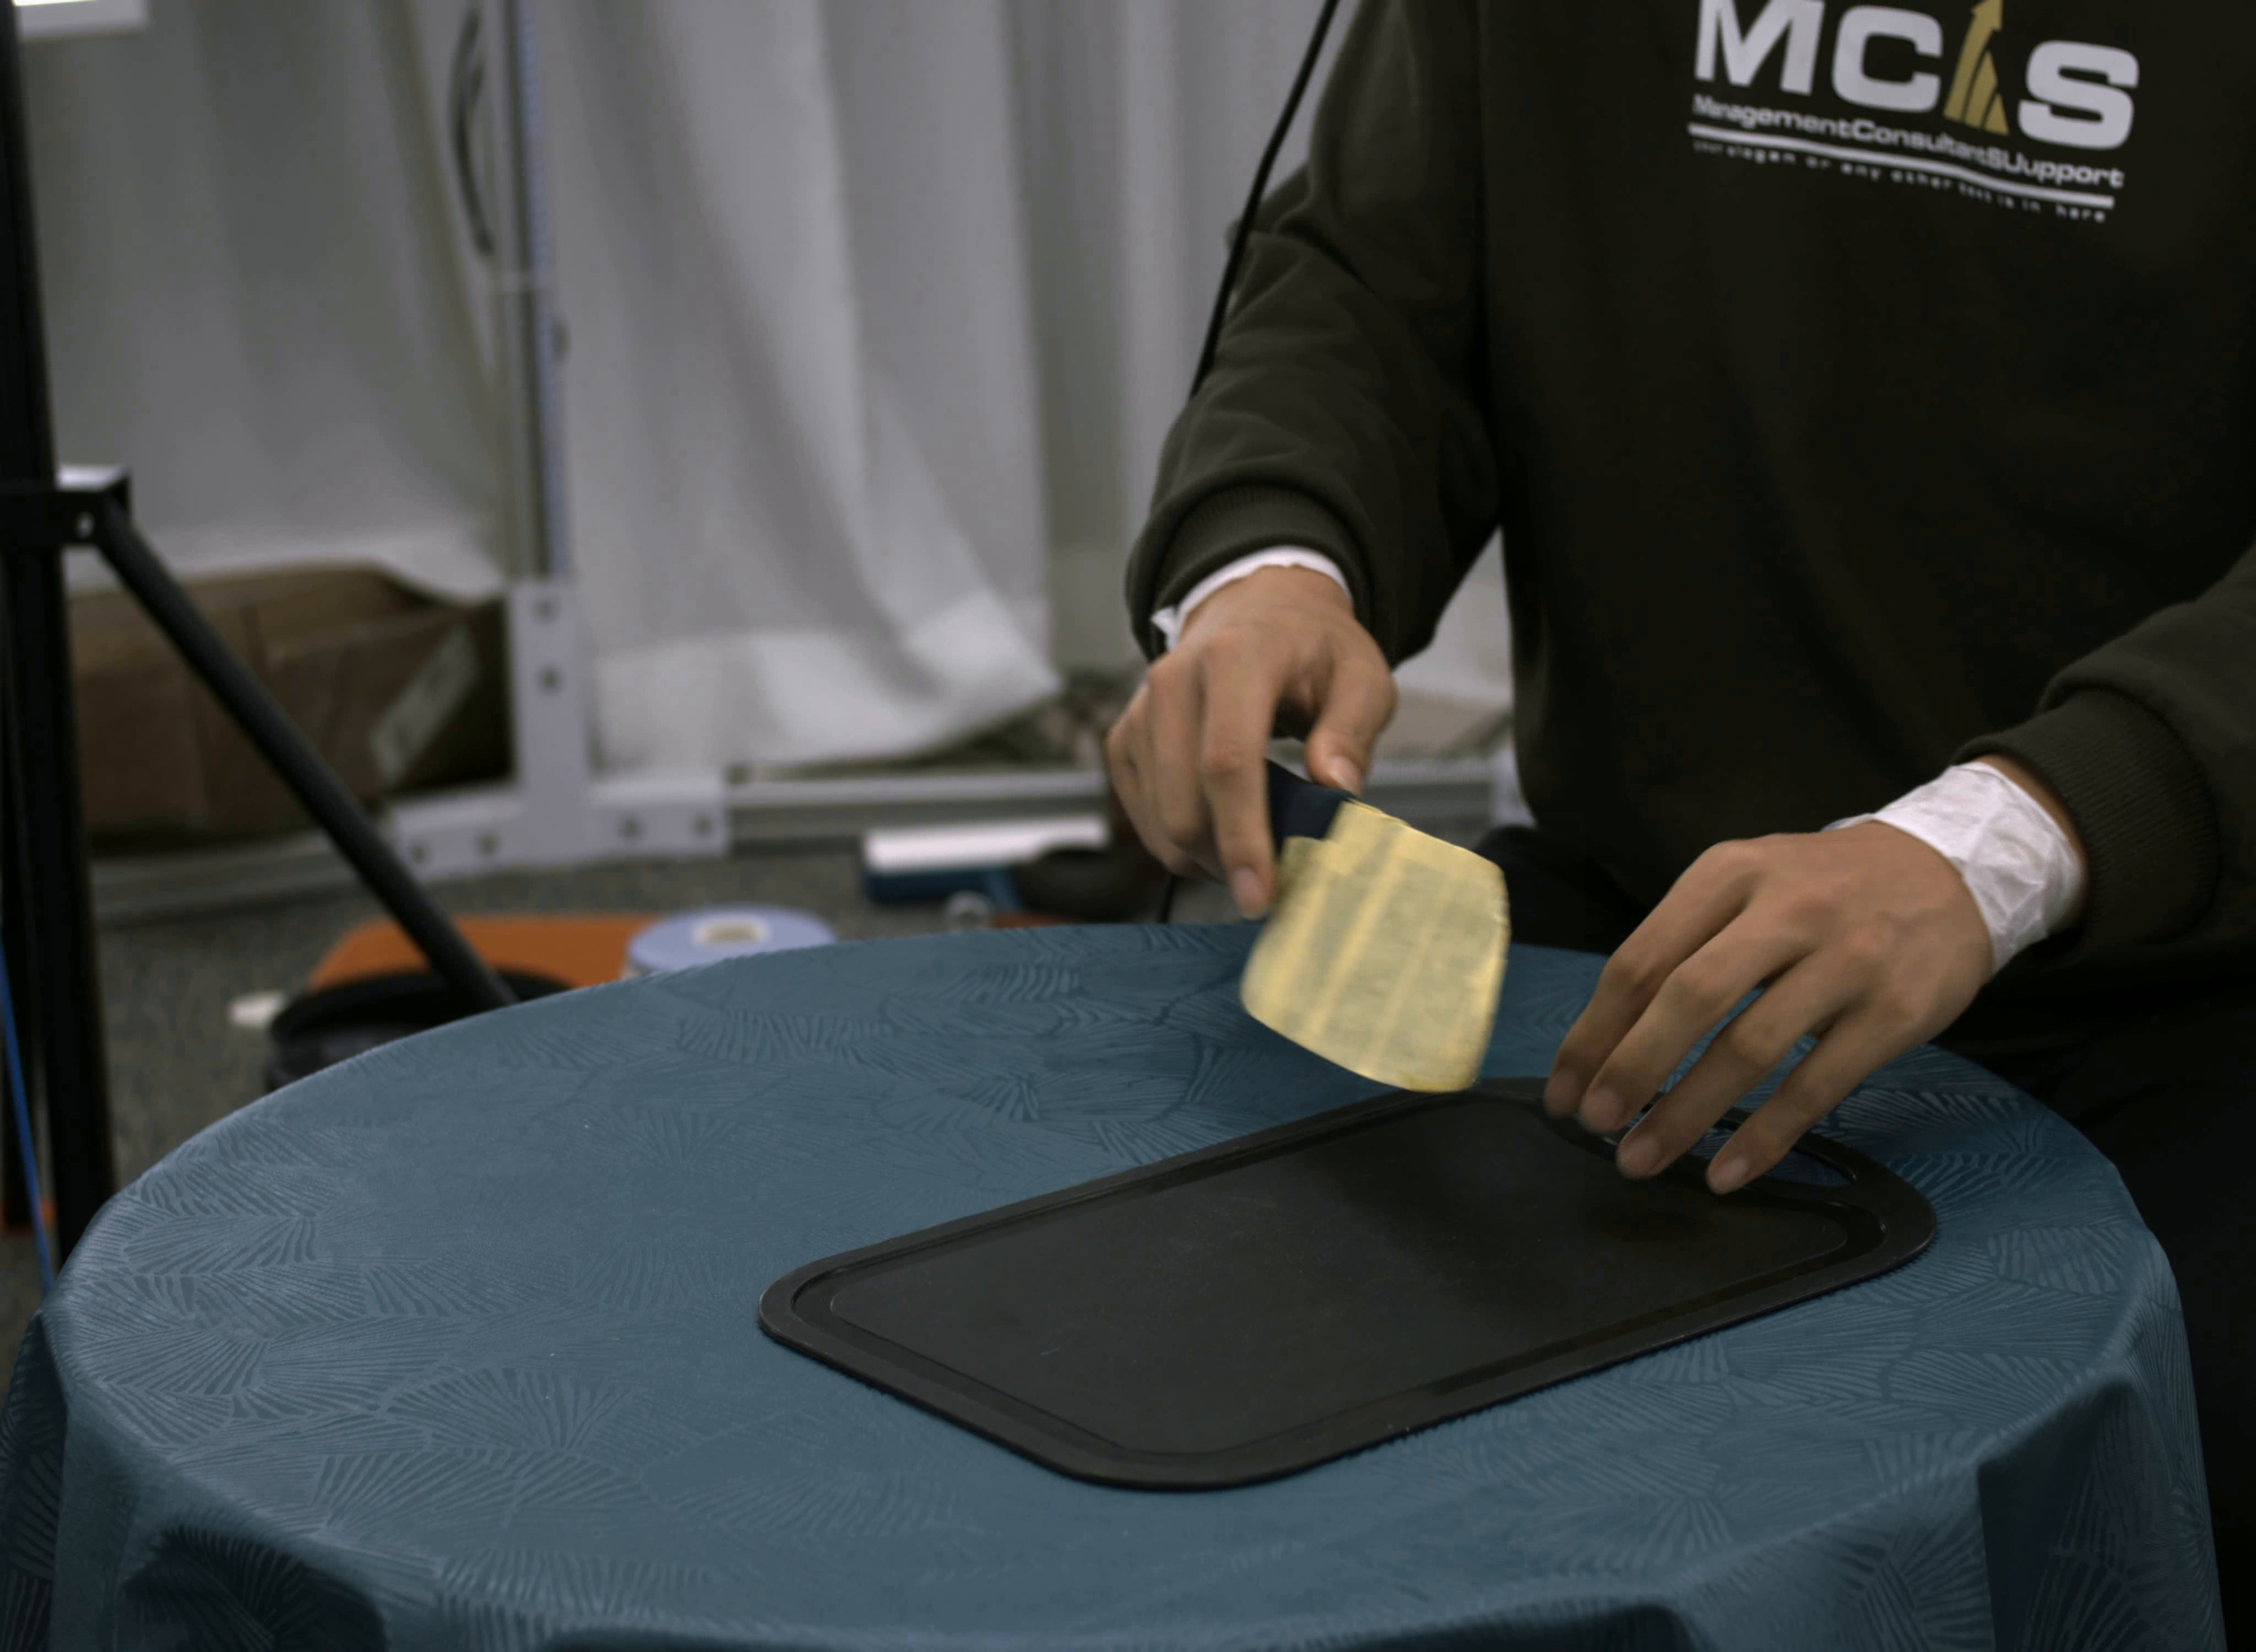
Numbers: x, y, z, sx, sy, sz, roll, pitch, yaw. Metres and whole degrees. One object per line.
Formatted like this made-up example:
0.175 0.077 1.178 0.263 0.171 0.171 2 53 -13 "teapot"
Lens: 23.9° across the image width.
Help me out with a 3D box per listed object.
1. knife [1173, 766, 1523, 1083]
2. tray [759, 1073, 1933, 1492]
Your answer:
0.061 0.027 1.602 0.027 0.081 0.294 27 2 -20 "knife"
0.069 0.120 1.494 0.318 0.010 0.216 -14 19 -35 "tray"
